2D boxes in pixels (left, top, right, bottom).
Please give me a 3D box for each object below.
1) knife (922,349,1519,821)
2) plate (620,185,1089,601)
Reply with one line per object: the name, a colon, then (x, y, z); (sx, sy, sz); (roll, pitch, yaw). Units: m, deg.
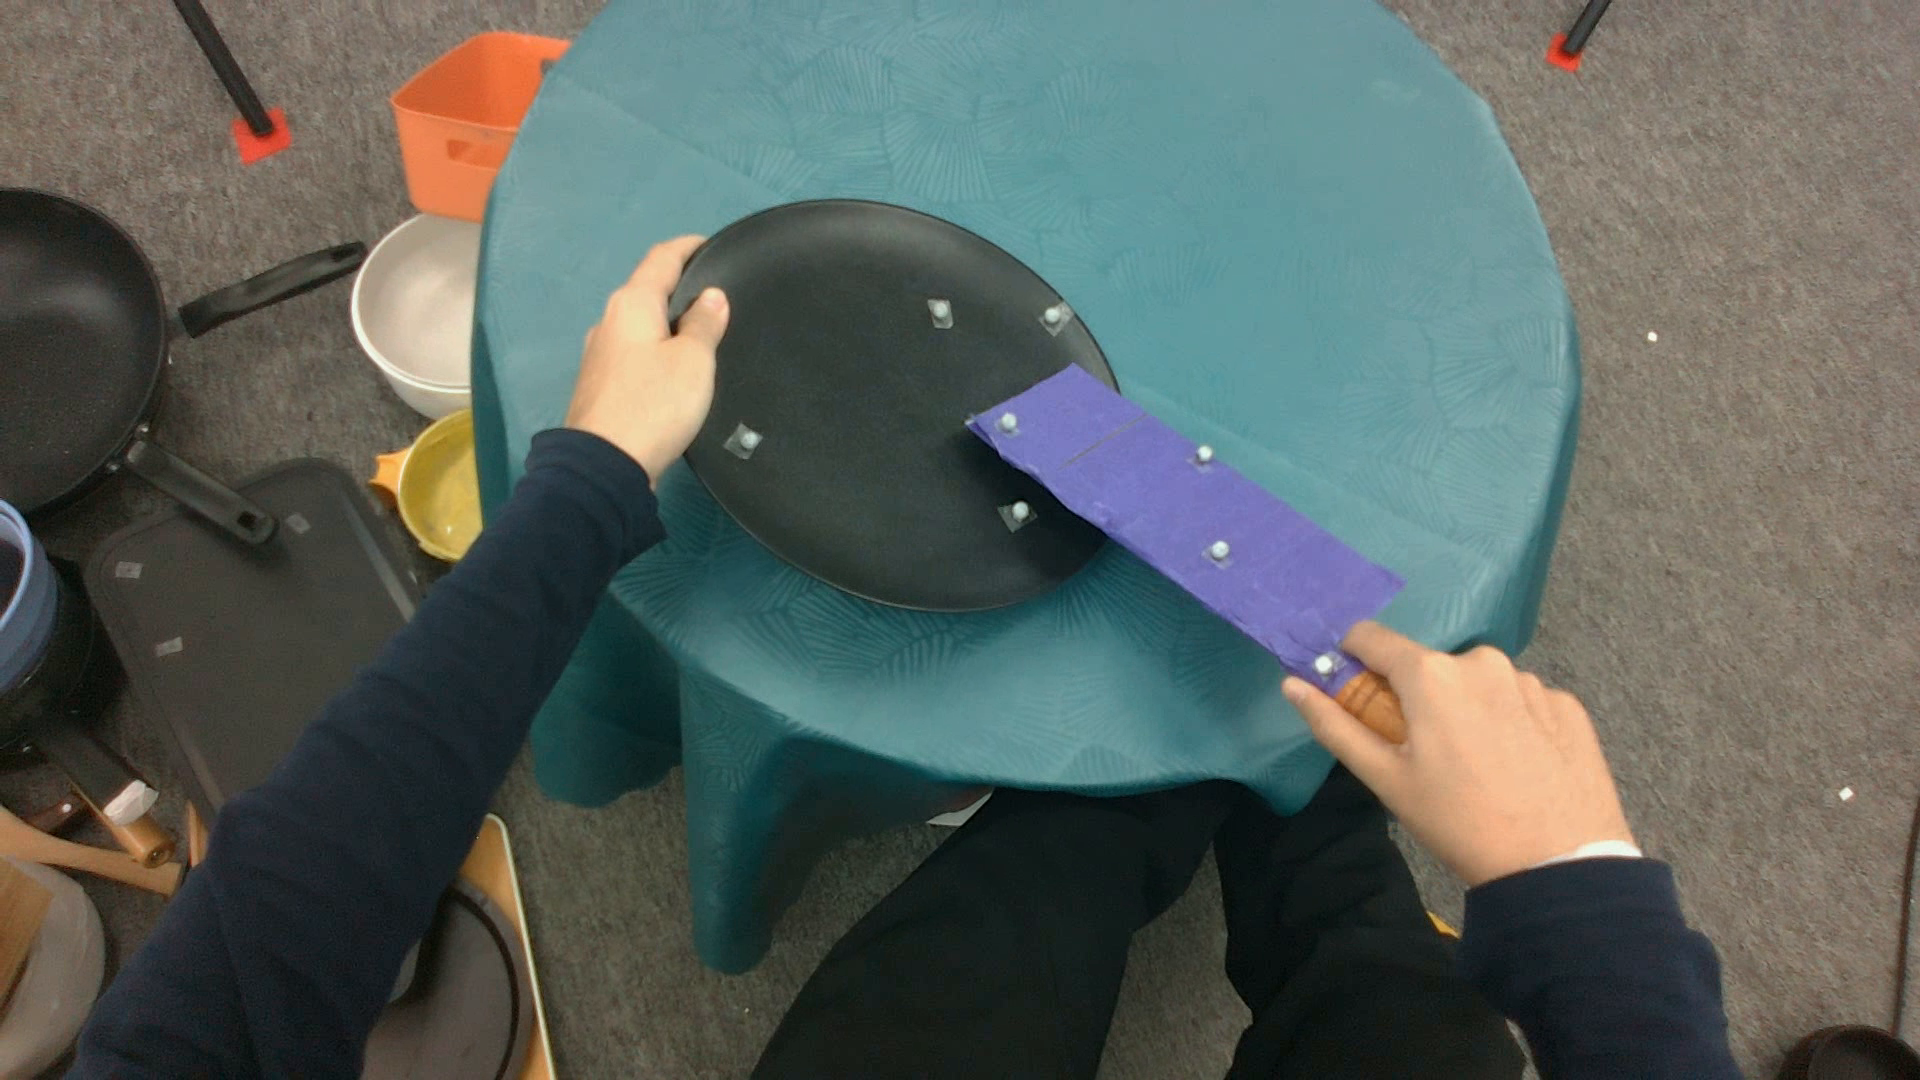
knife: (0.126, 0.001, 0.634); (0.315, 0.032, 0.104); (39, 49, 23)
plate: (-0.044, -0.074, 0.675); (0.244, 0.023, 0.245); (12, 56, -19)
